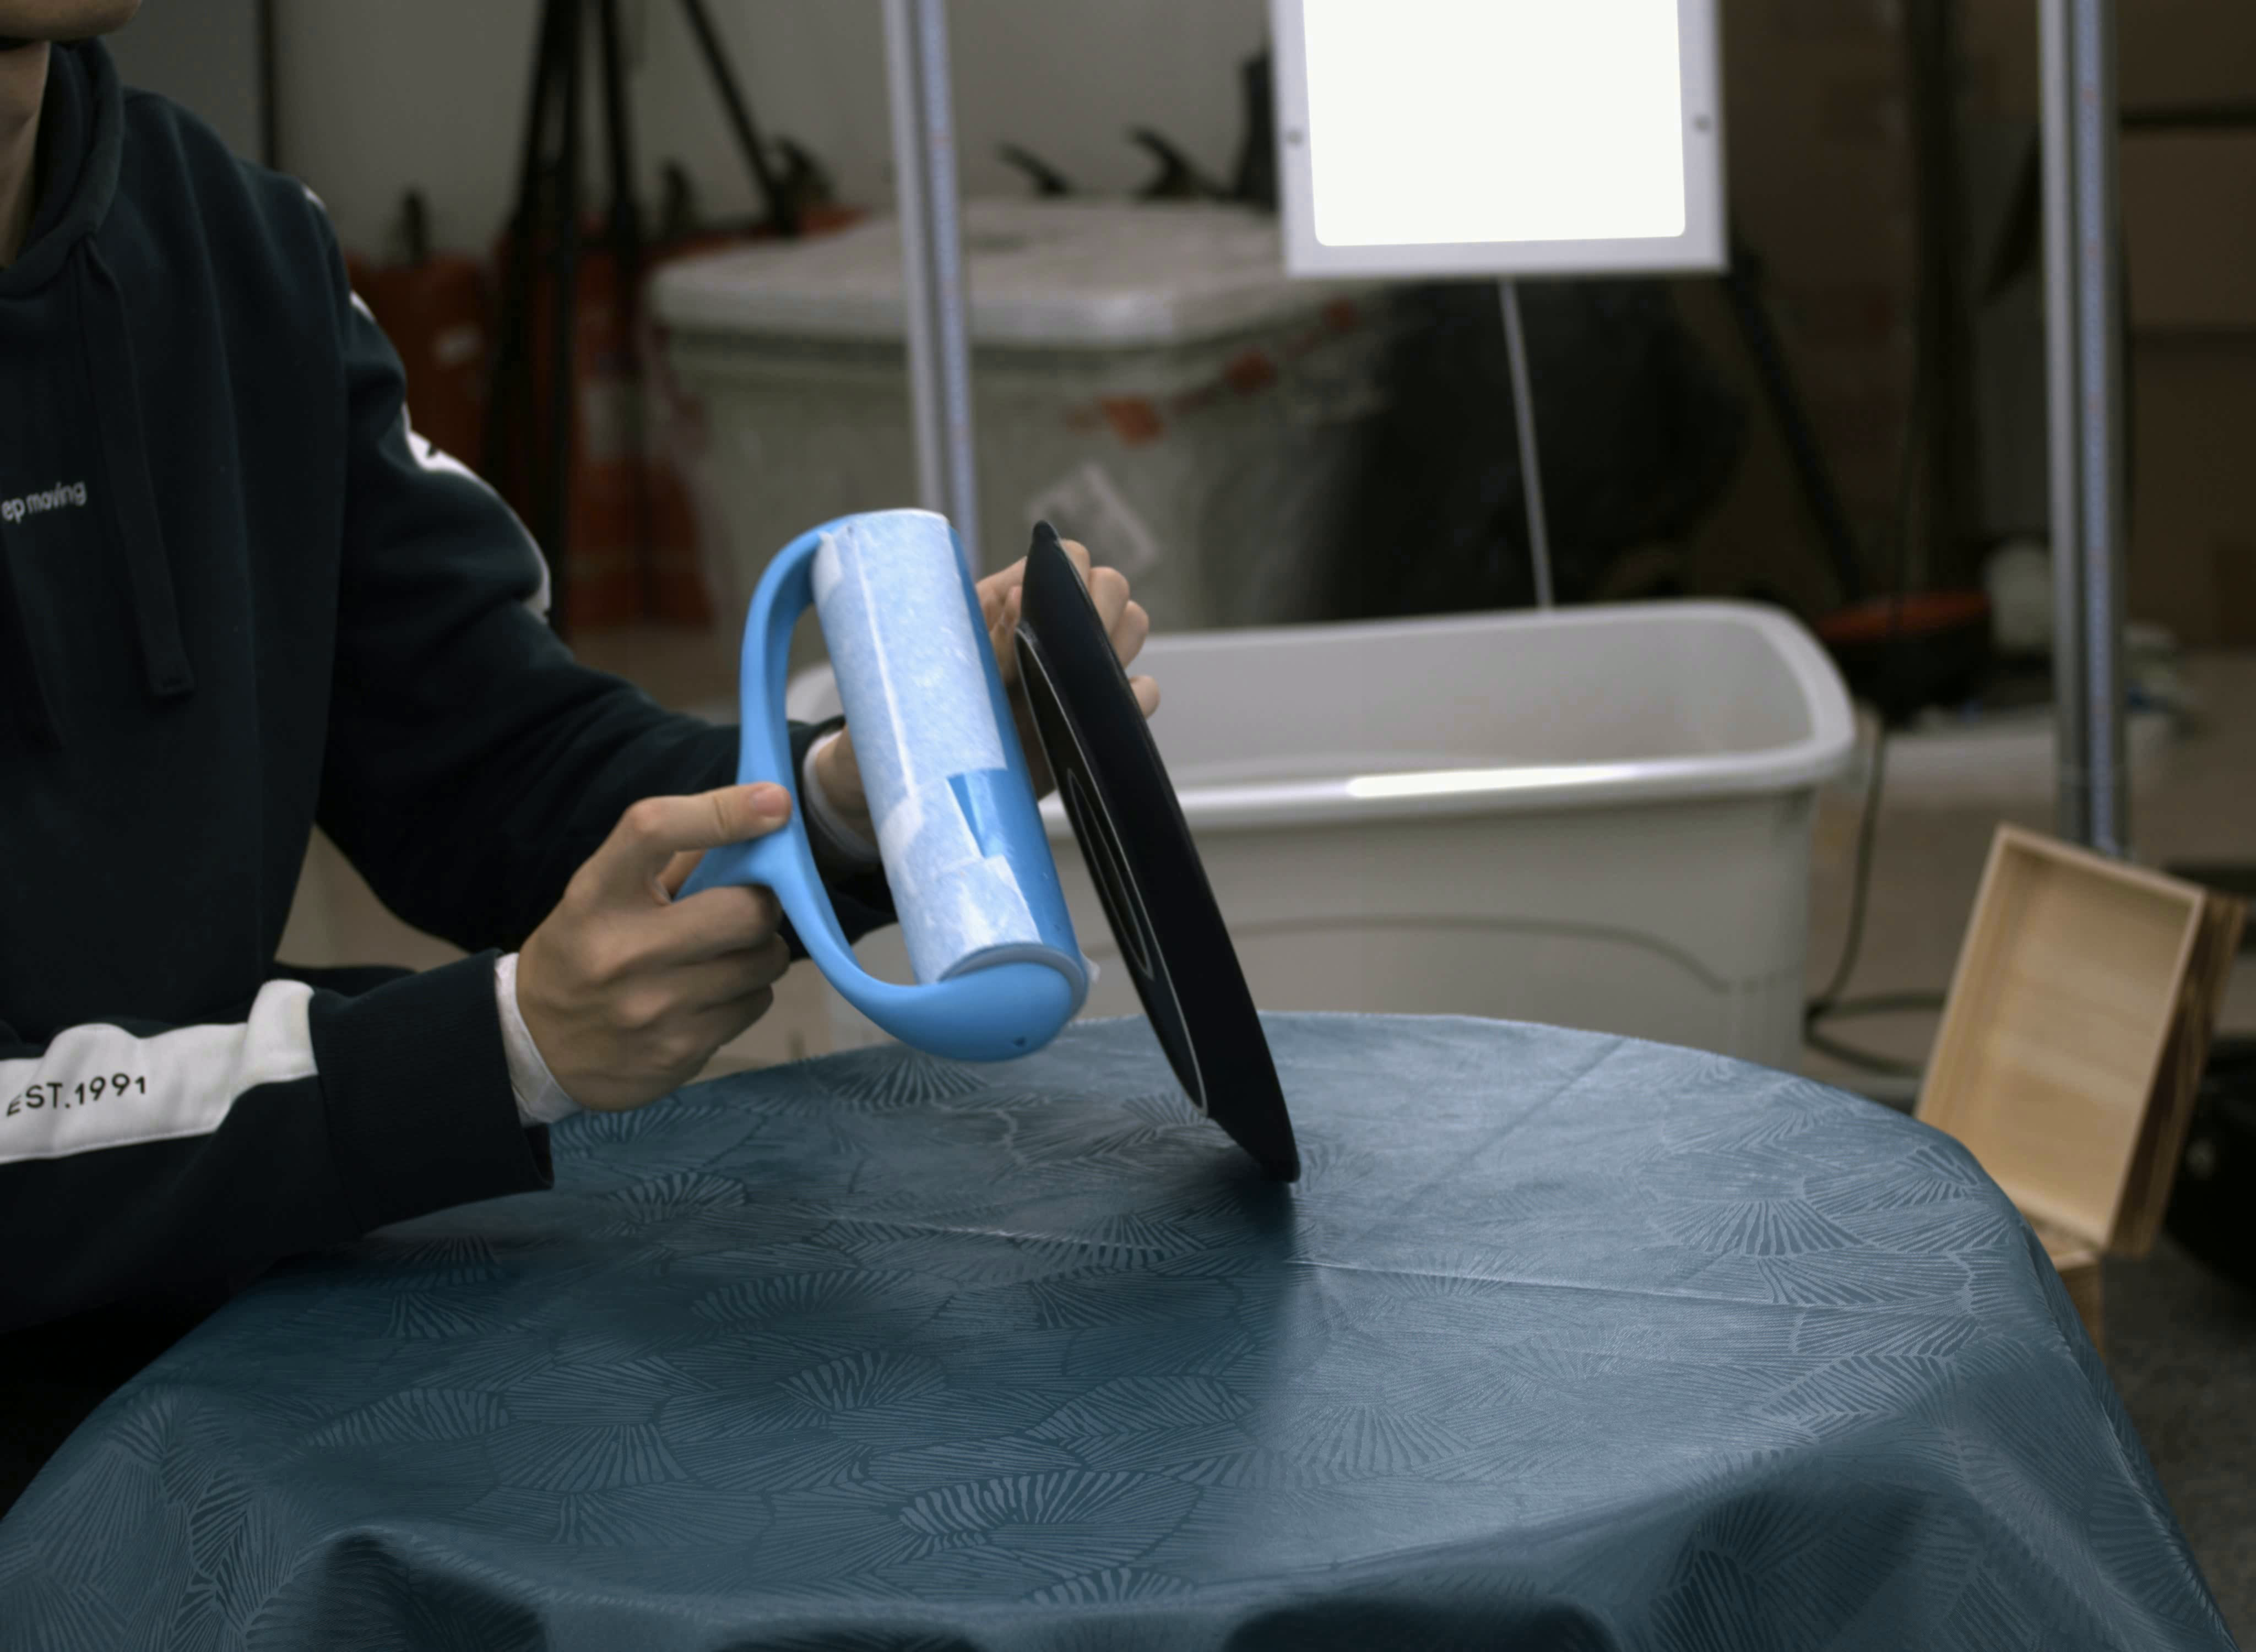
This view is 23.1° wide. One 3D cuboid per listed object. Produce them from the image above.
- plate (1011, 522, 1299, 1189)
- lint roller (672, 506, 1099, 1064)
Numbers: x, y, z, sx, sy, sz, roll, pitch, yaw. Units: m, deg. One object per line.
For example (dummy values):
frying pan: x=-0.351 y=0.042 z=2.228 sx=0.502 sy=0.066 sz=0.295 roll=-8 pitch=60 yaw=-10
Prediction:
plate: x=0.004 y=0.013 z=1.875 sx=0.023 sy=0.244 sz=0.245 roll=-21 pitch=15 yaw=-5
lint roller: x=-0.101 y=0.016 z=1.821 sx=0.066 sy=0.183 sz=0.230 roll=29 pitch=30 yaw=-42
